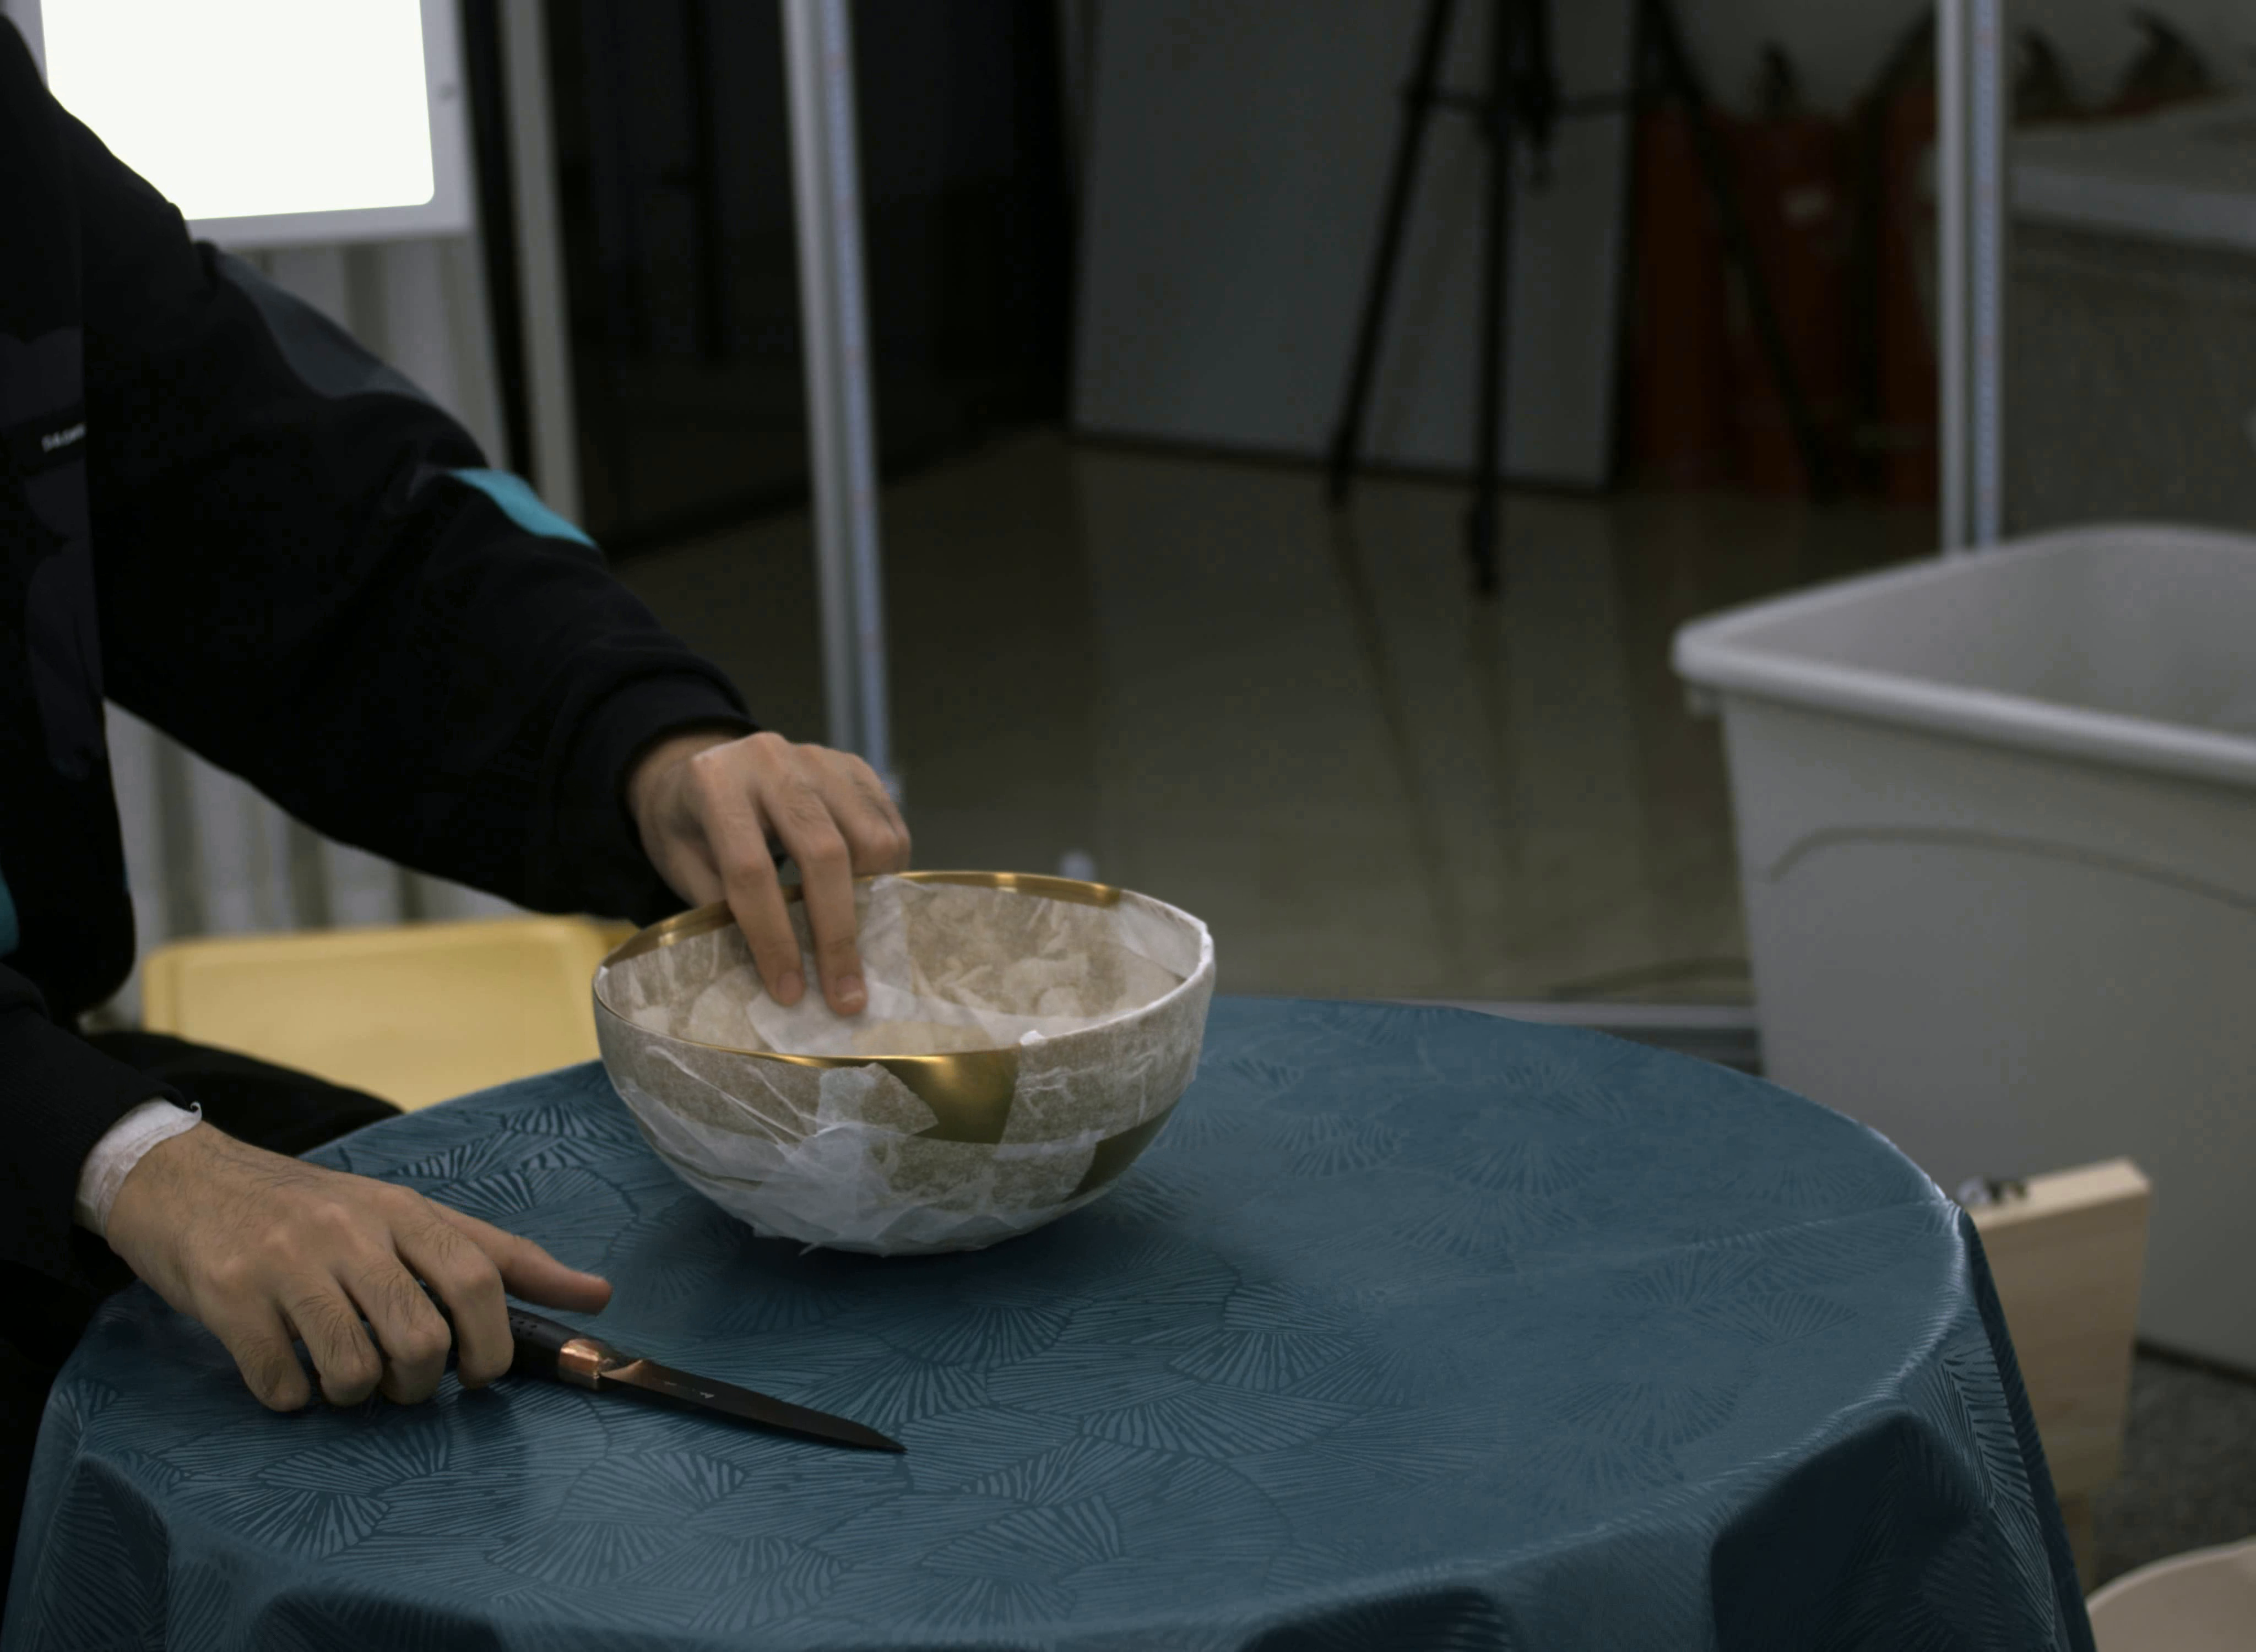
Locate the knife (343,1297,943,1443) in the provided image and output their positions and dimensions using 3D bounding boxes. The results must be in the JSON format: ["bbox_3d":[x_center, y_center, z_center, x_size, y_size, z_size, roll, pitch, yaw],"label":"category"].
[{"bbox_3d":[-0.148,0.165,1.617,0.227,0.017,0.026,8,10,36],"label":"knife"}]

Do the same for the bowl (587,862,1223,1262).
[{"bbox_3d":[-0.070,0.084,1.741,0.212,0.095,0.215,-4,16,0],"label":"bowl"}]
